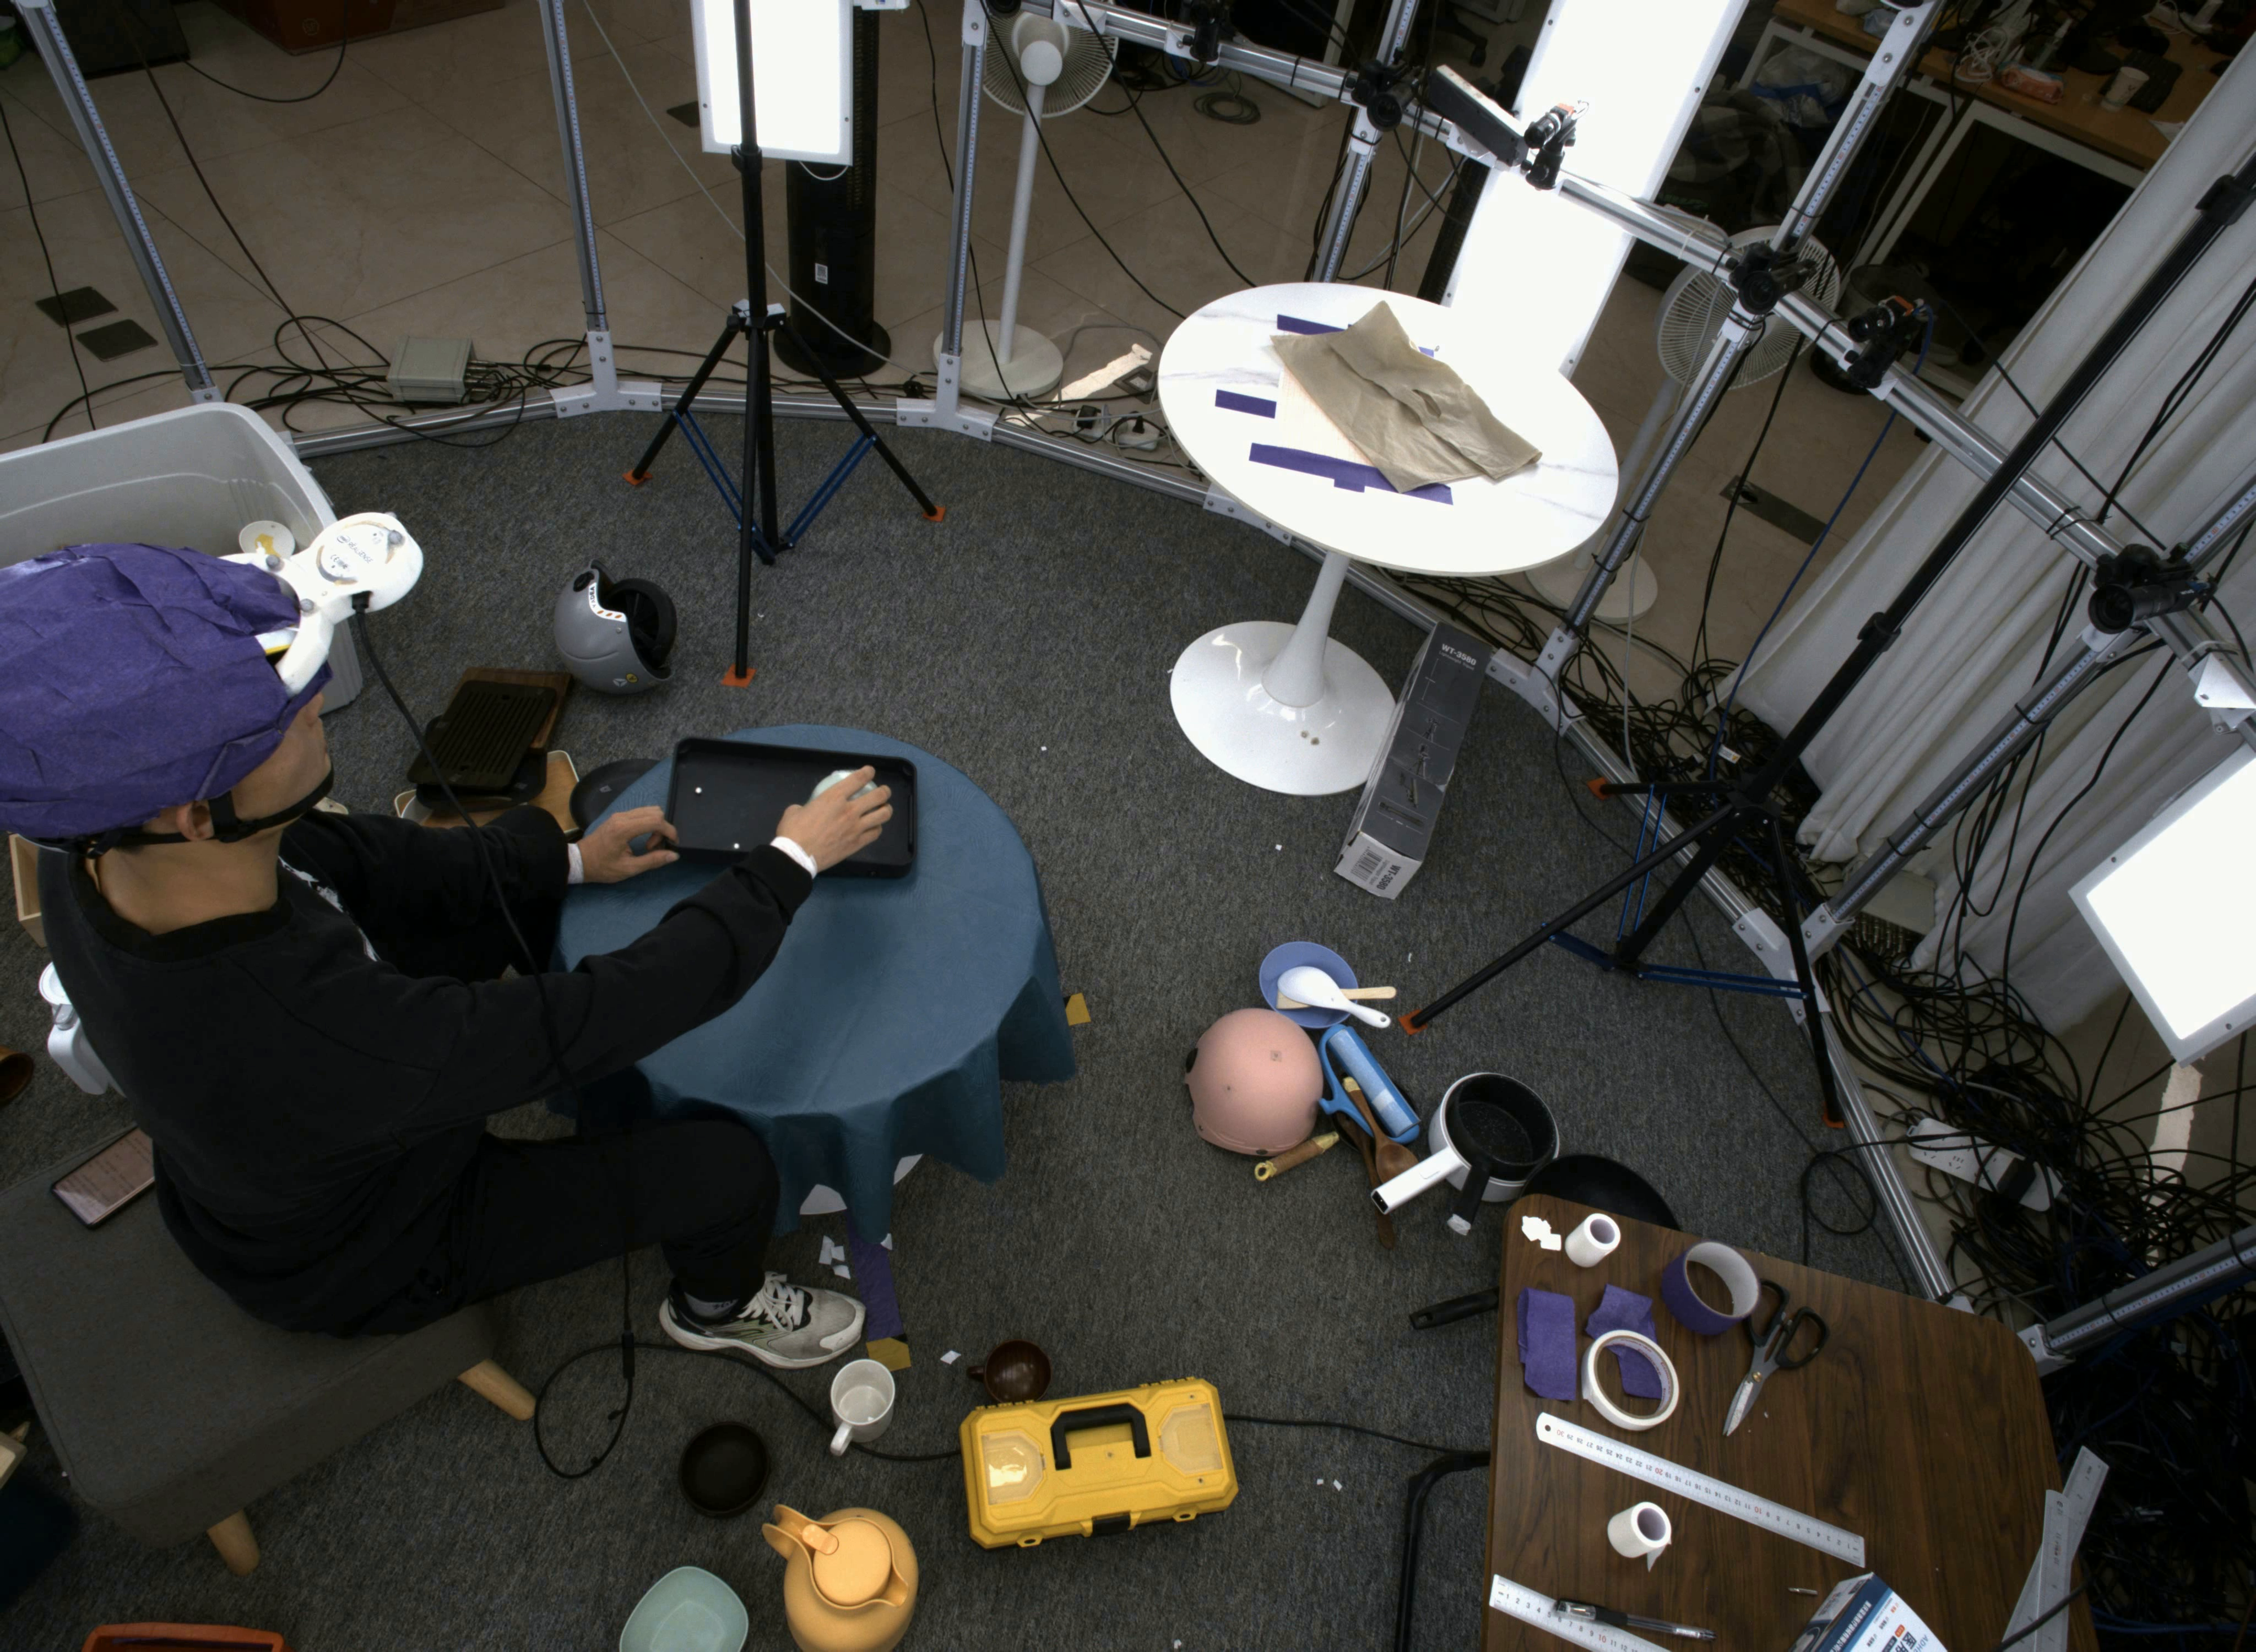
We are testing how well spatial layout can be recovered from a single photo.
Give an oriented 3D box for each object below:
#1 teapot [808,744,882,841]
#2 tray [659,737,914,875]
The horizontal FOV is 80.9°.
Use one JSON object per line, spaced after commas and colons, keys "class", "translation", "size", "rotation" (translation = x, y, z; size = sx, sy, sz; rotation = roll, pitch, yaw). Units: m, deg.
{"class": "teapot", "translation": [-0.342, -0.027, 1.564], "size": [0.088, 0.148, 0.072], "rotation": [-22, 54, -19]}
{"class": "tray", "translation": [-0.443, -0.026, 1.692], "size": [0.320, 0.037, 0.180], "rotation": [4, 53, -20]}
